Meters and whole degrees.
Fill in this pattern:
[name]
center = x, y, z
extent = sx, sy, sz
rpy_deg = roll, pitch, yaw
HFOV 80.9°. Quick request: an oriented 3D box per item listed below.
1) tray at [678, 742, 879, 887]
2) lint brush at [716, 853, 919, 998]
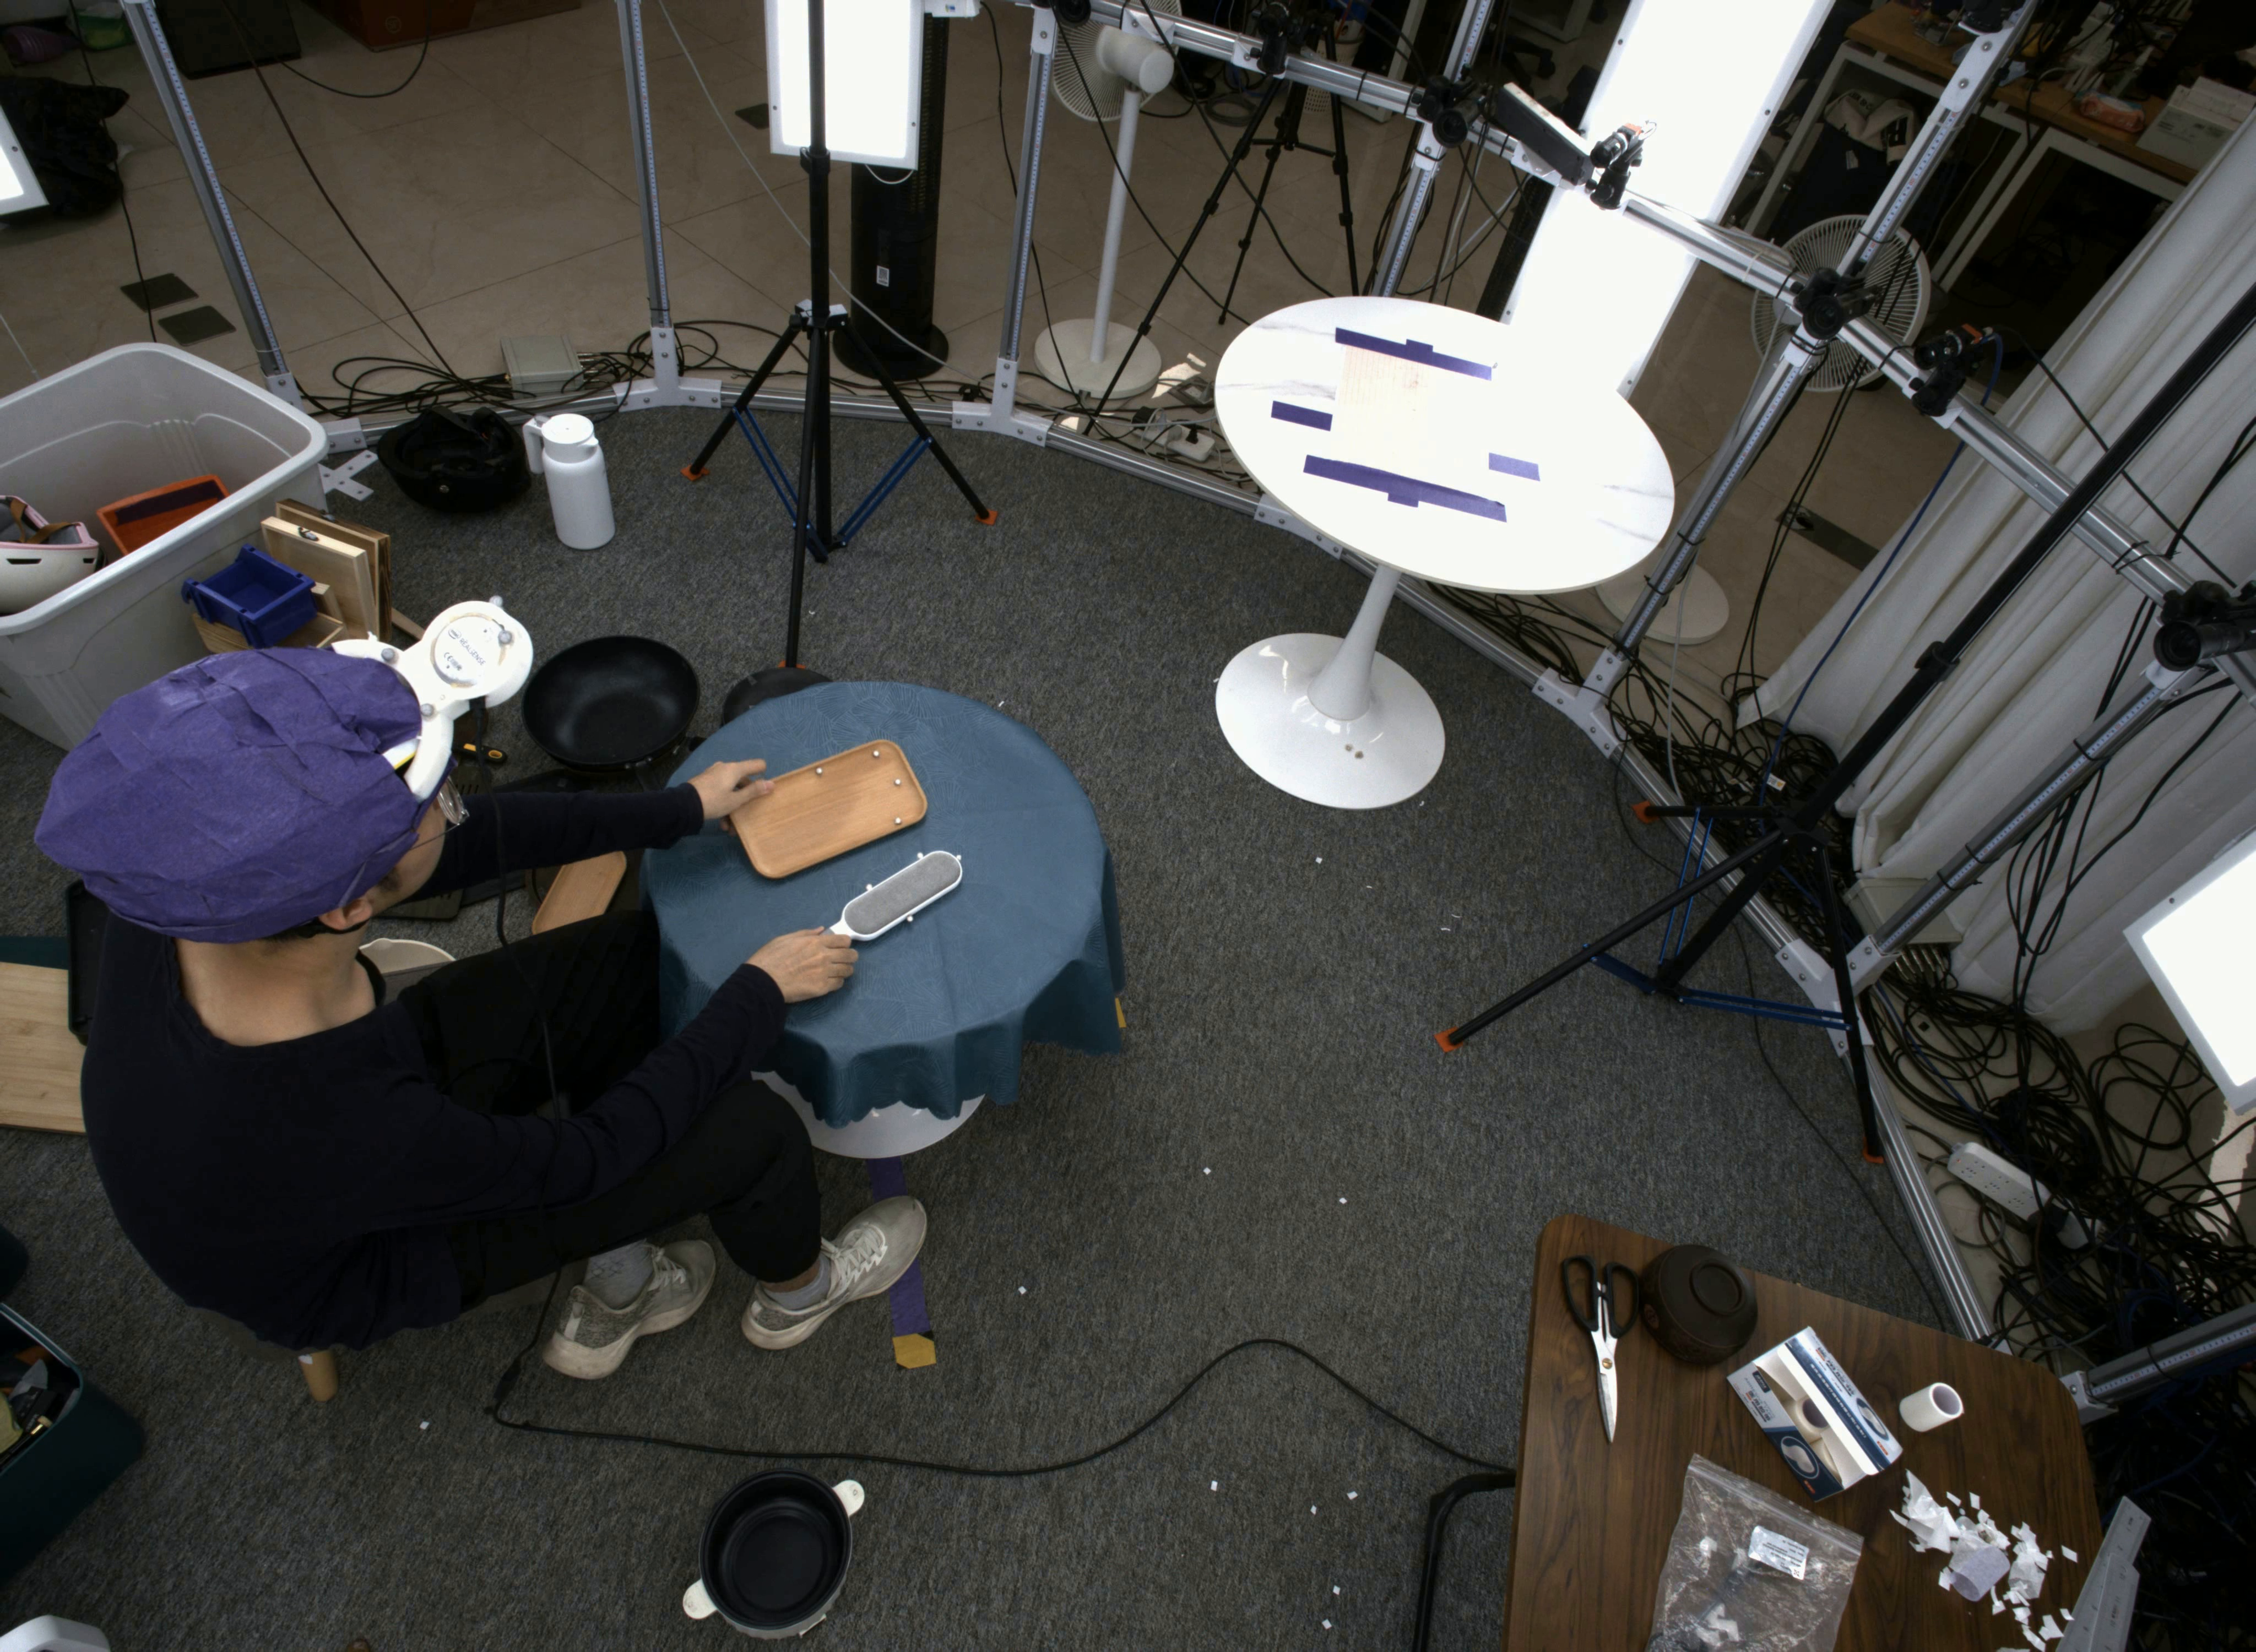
[tray]
center = -0.458, -0.018, 1.703
extent = 0.252, 0.023, 0.130
rpy_deg = -26, 82, -30
[lint brush]
center = -0.387, 0.121, 1.630
extent = 0.309, 0.021, 0.060
rpy_deg = -36, 83, -34
